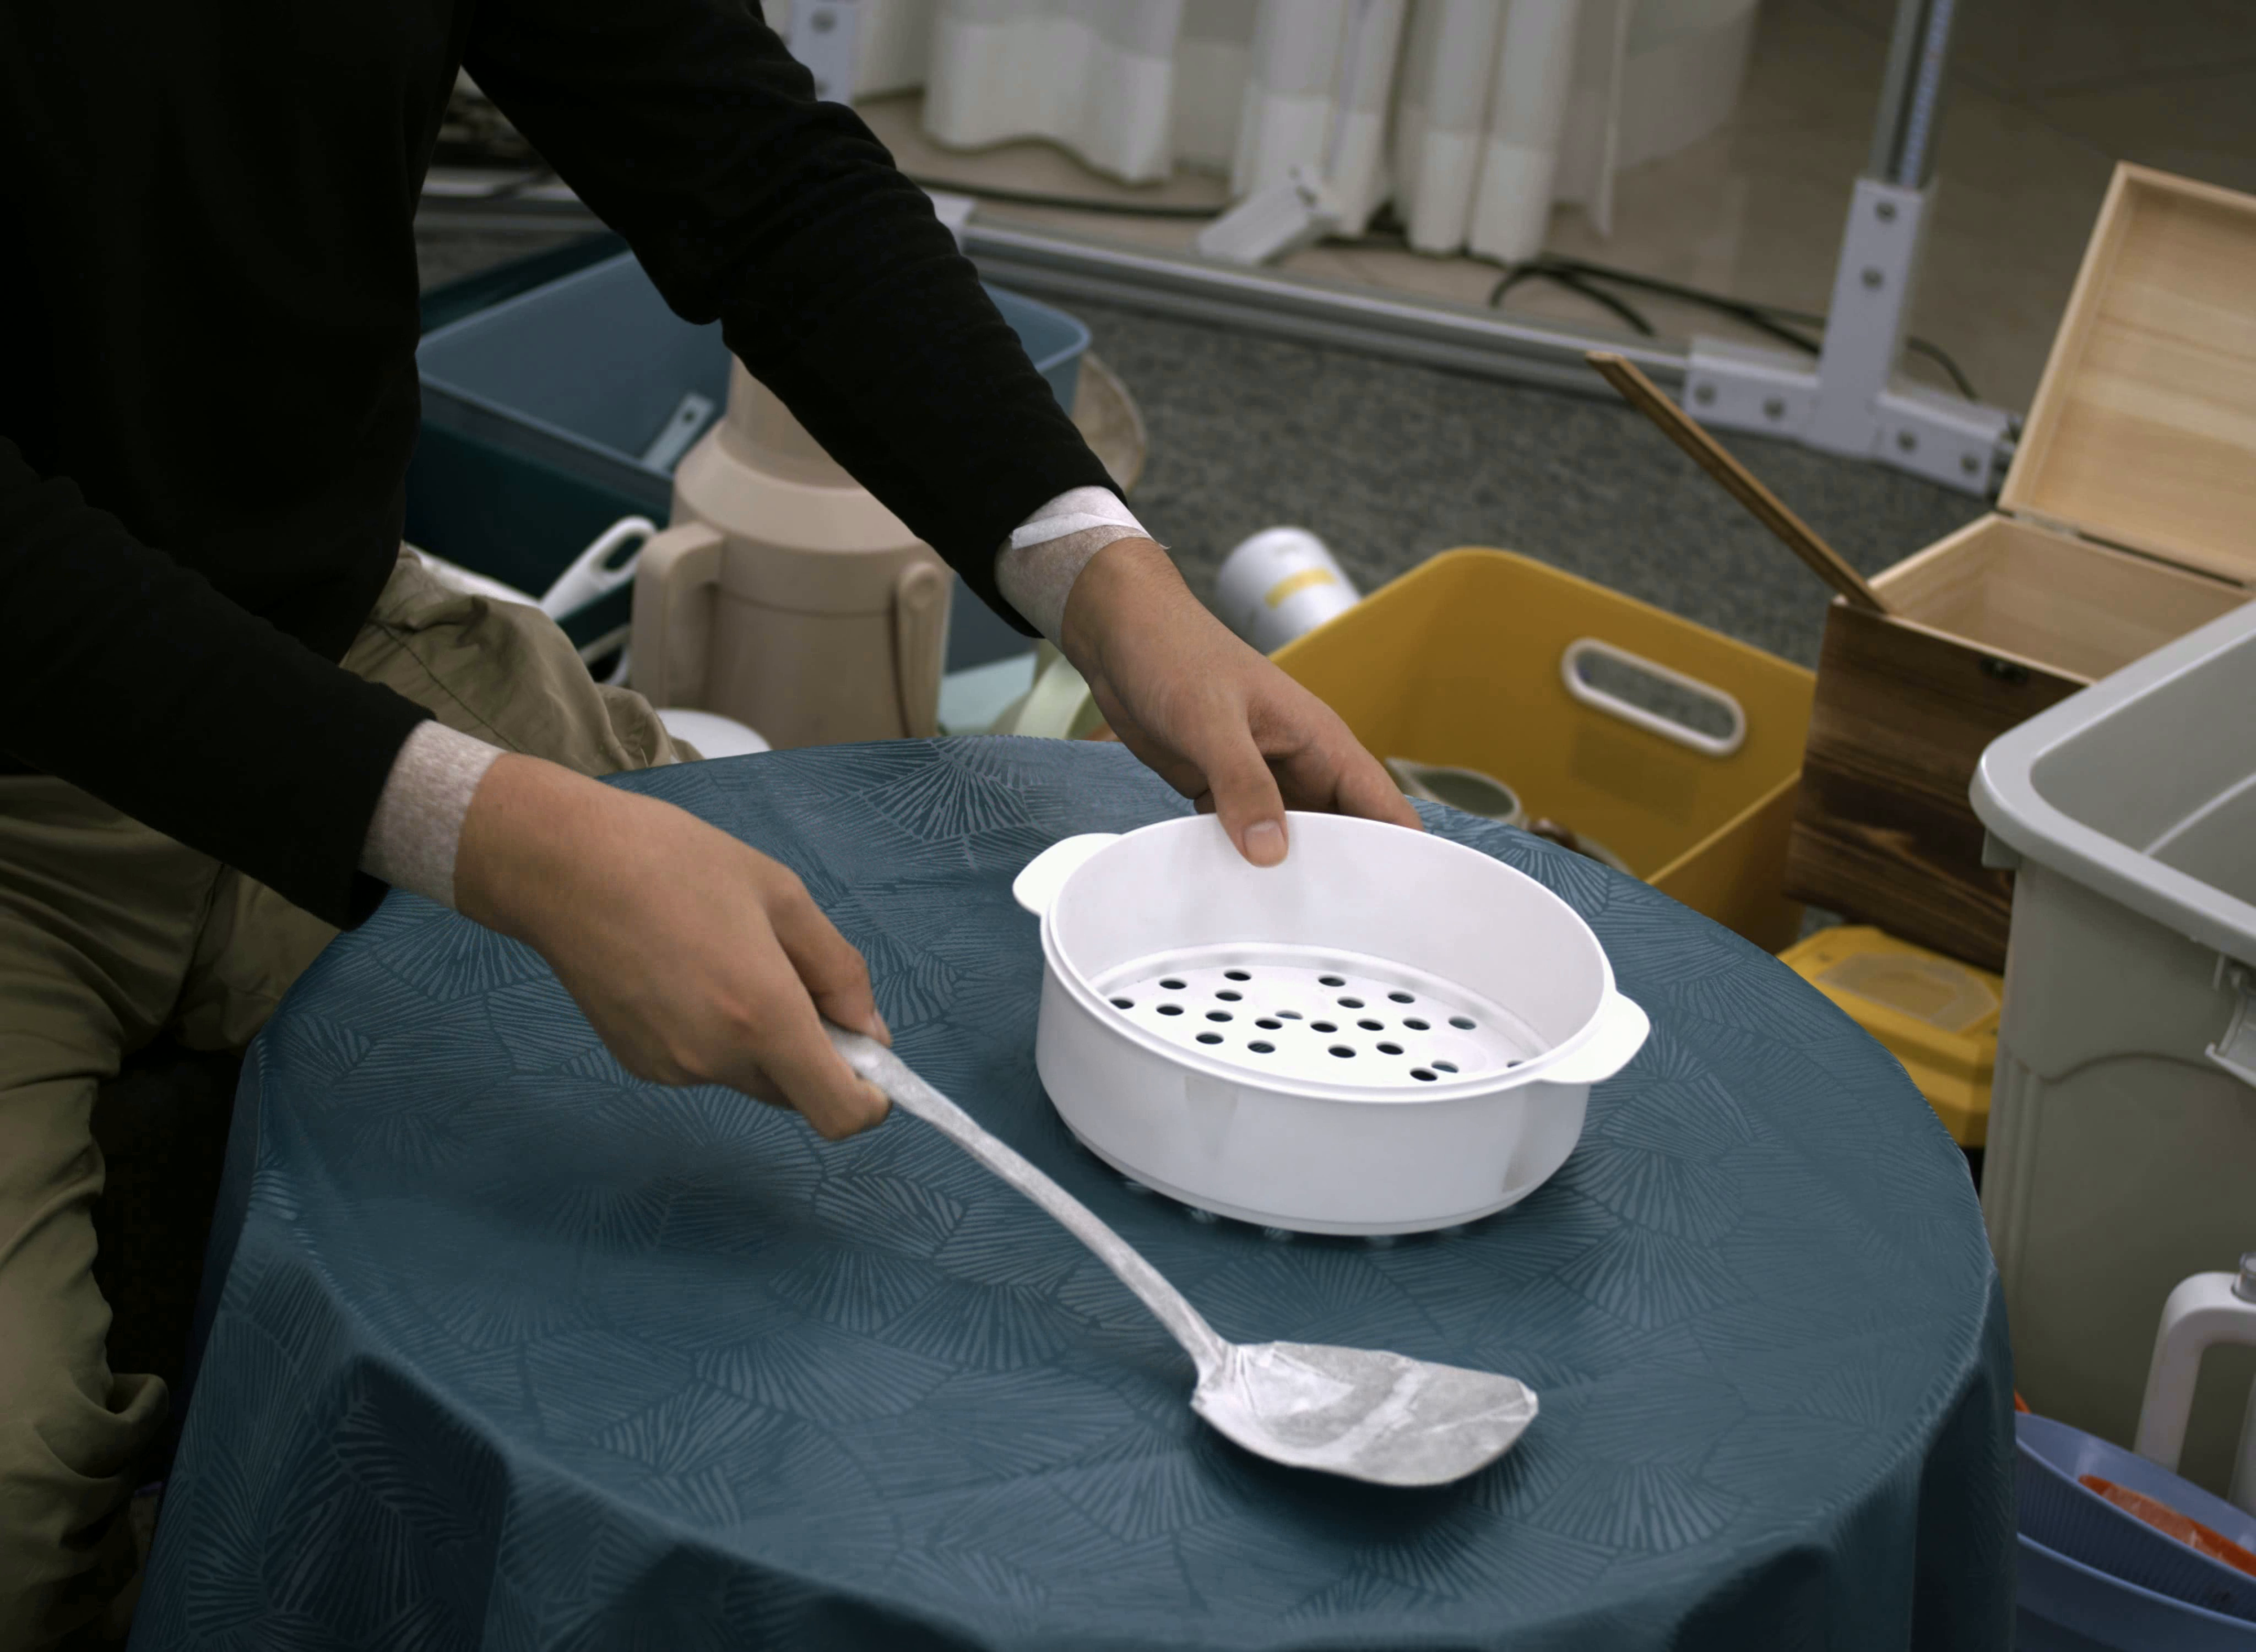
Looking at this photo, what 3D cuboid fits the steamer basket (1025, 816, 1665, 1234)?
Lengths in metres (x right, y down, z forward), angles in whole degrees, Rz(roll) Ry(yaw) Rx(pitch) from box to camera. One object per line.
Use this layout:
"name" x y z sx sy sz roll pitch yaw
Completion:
"steamer basket" 0.071 0.069 1.847 0.231 0.069 0.201 17 28 22

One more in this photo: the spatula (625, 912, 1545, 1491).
"spatula" -0.030 0.113 1.721 0.367 0.044 0.098 35 33 21
